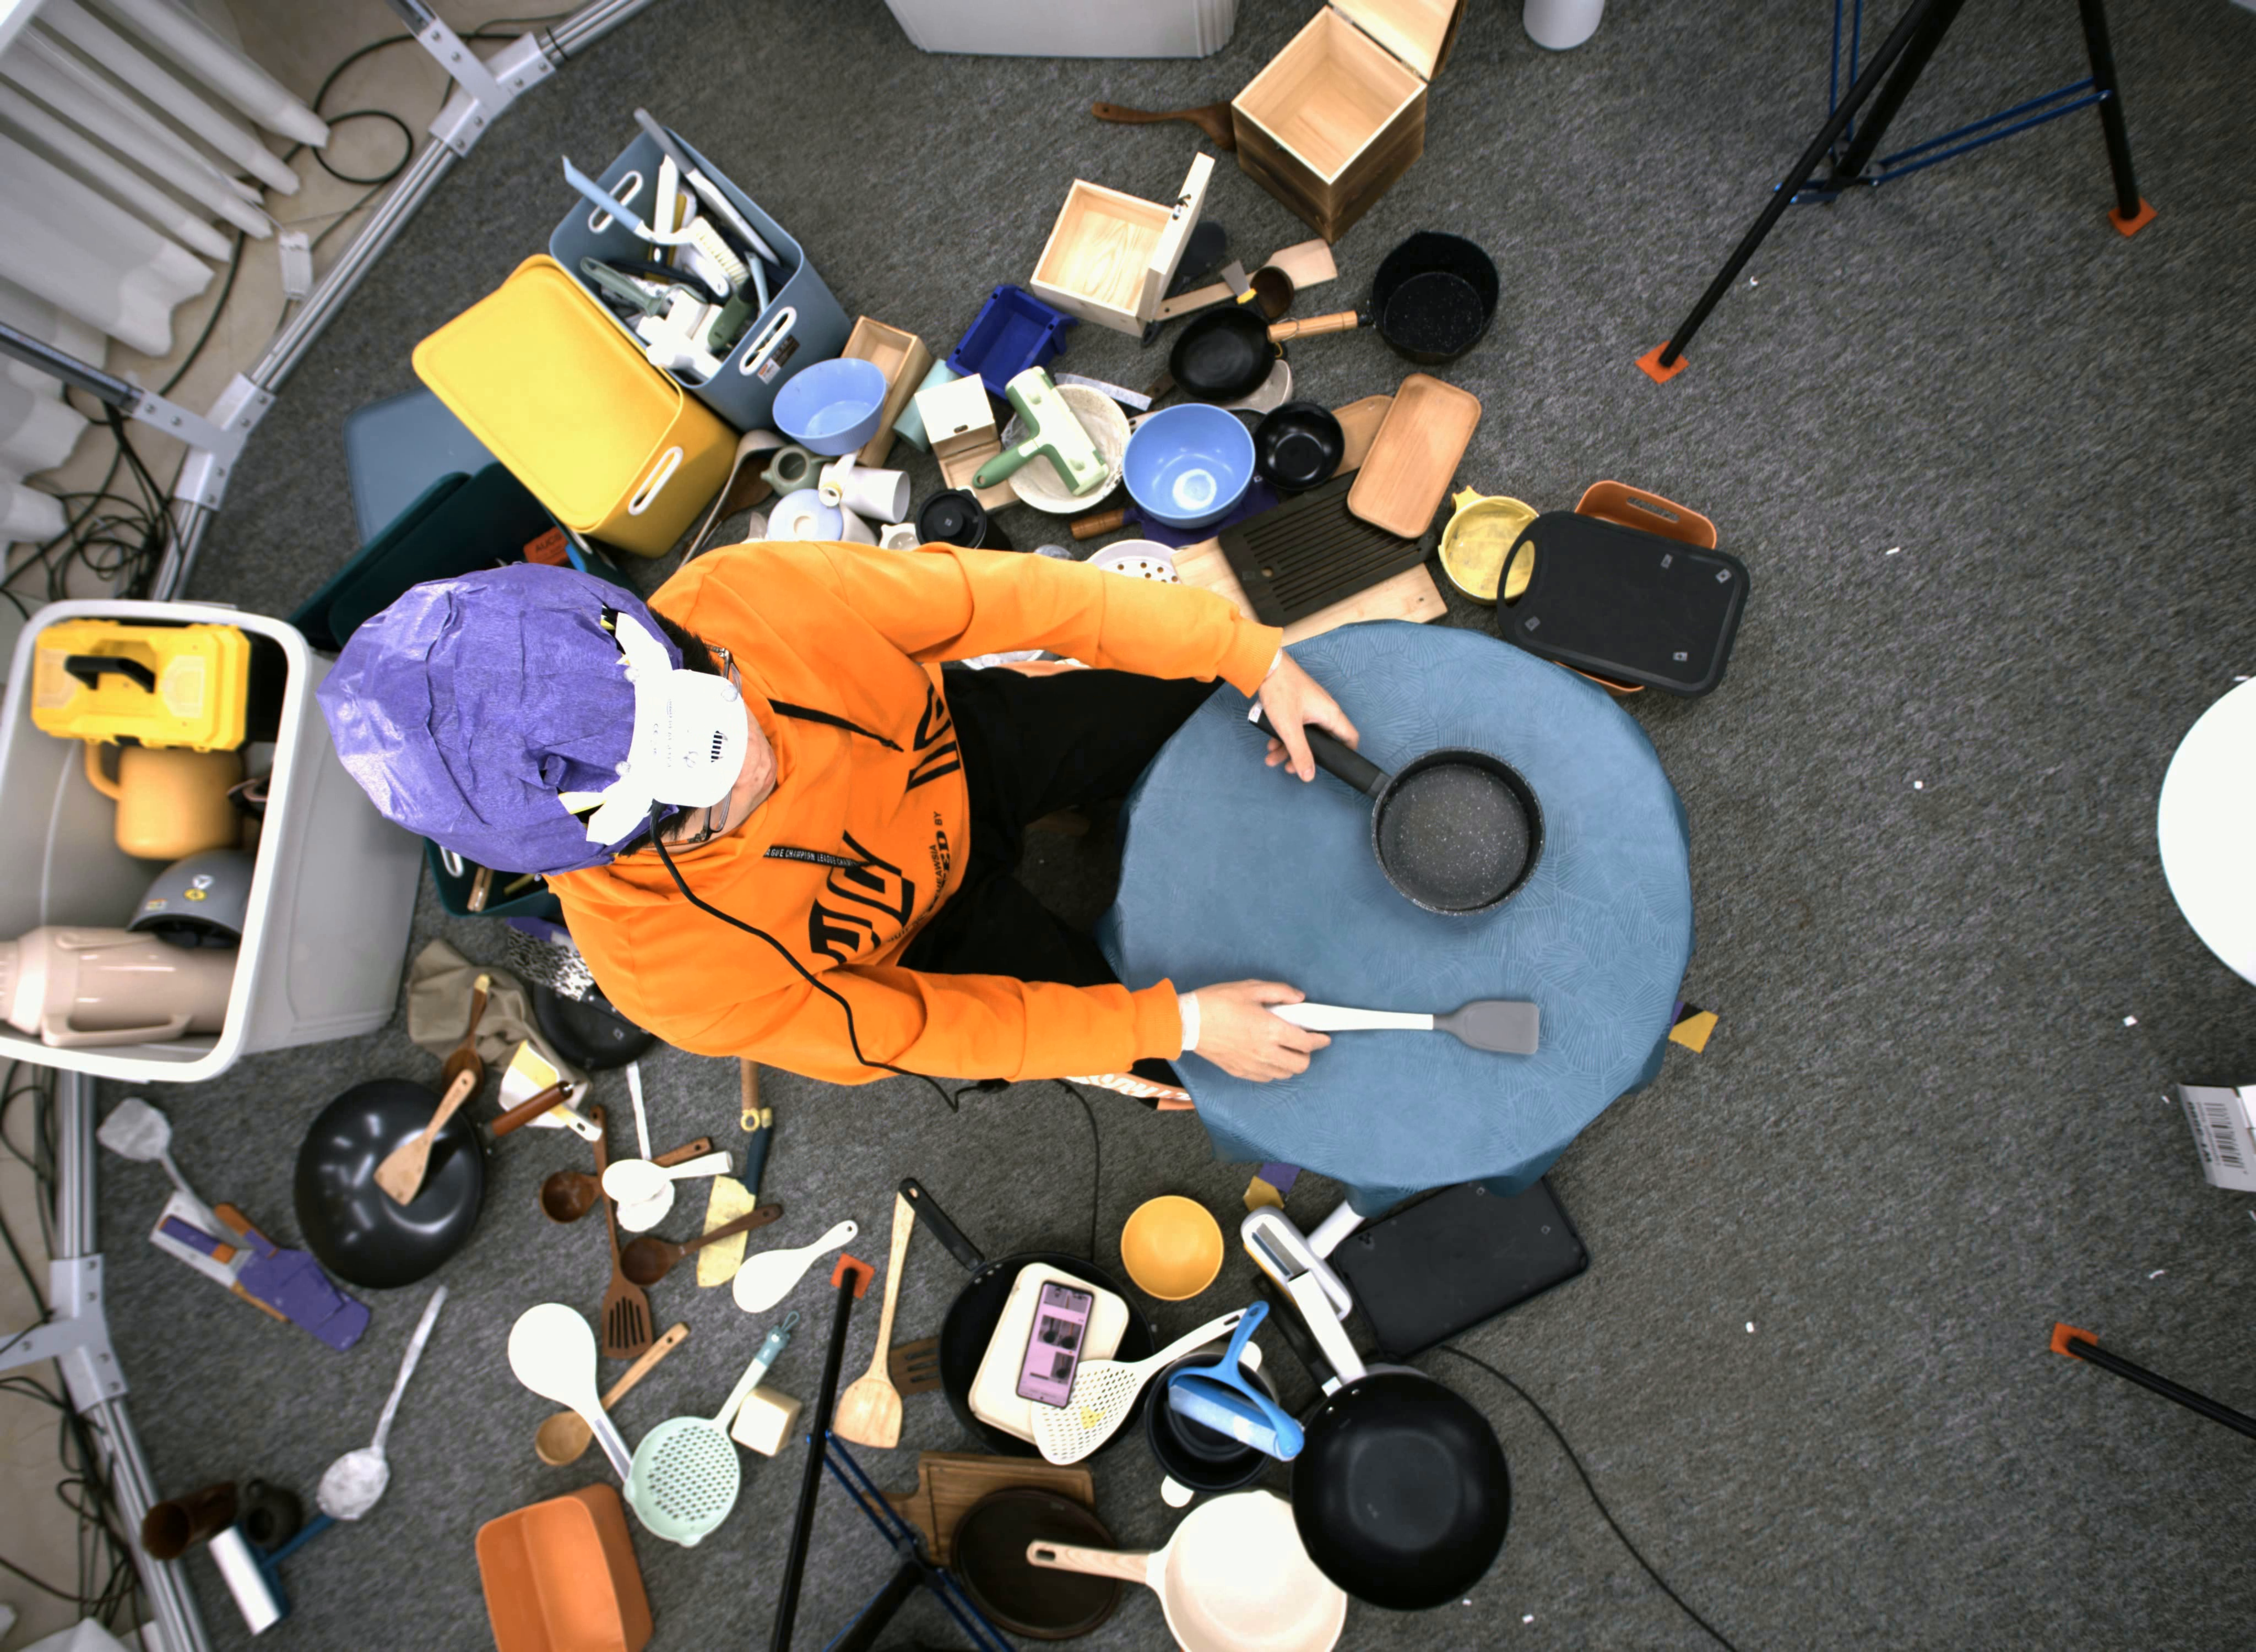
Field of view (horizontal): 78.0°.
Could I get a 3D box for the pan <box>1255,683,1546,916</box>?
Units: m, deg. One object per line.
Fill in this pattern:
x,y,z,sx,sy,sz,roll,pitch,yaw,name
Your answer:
0.272,-0.038,1.423,0.328,0.086,0.172,35,92,9,pan

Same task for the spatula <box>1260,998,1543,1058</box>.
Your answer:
0.282,0.202,1.435,0.289,0.032,0.058,1,82,11,spatula
